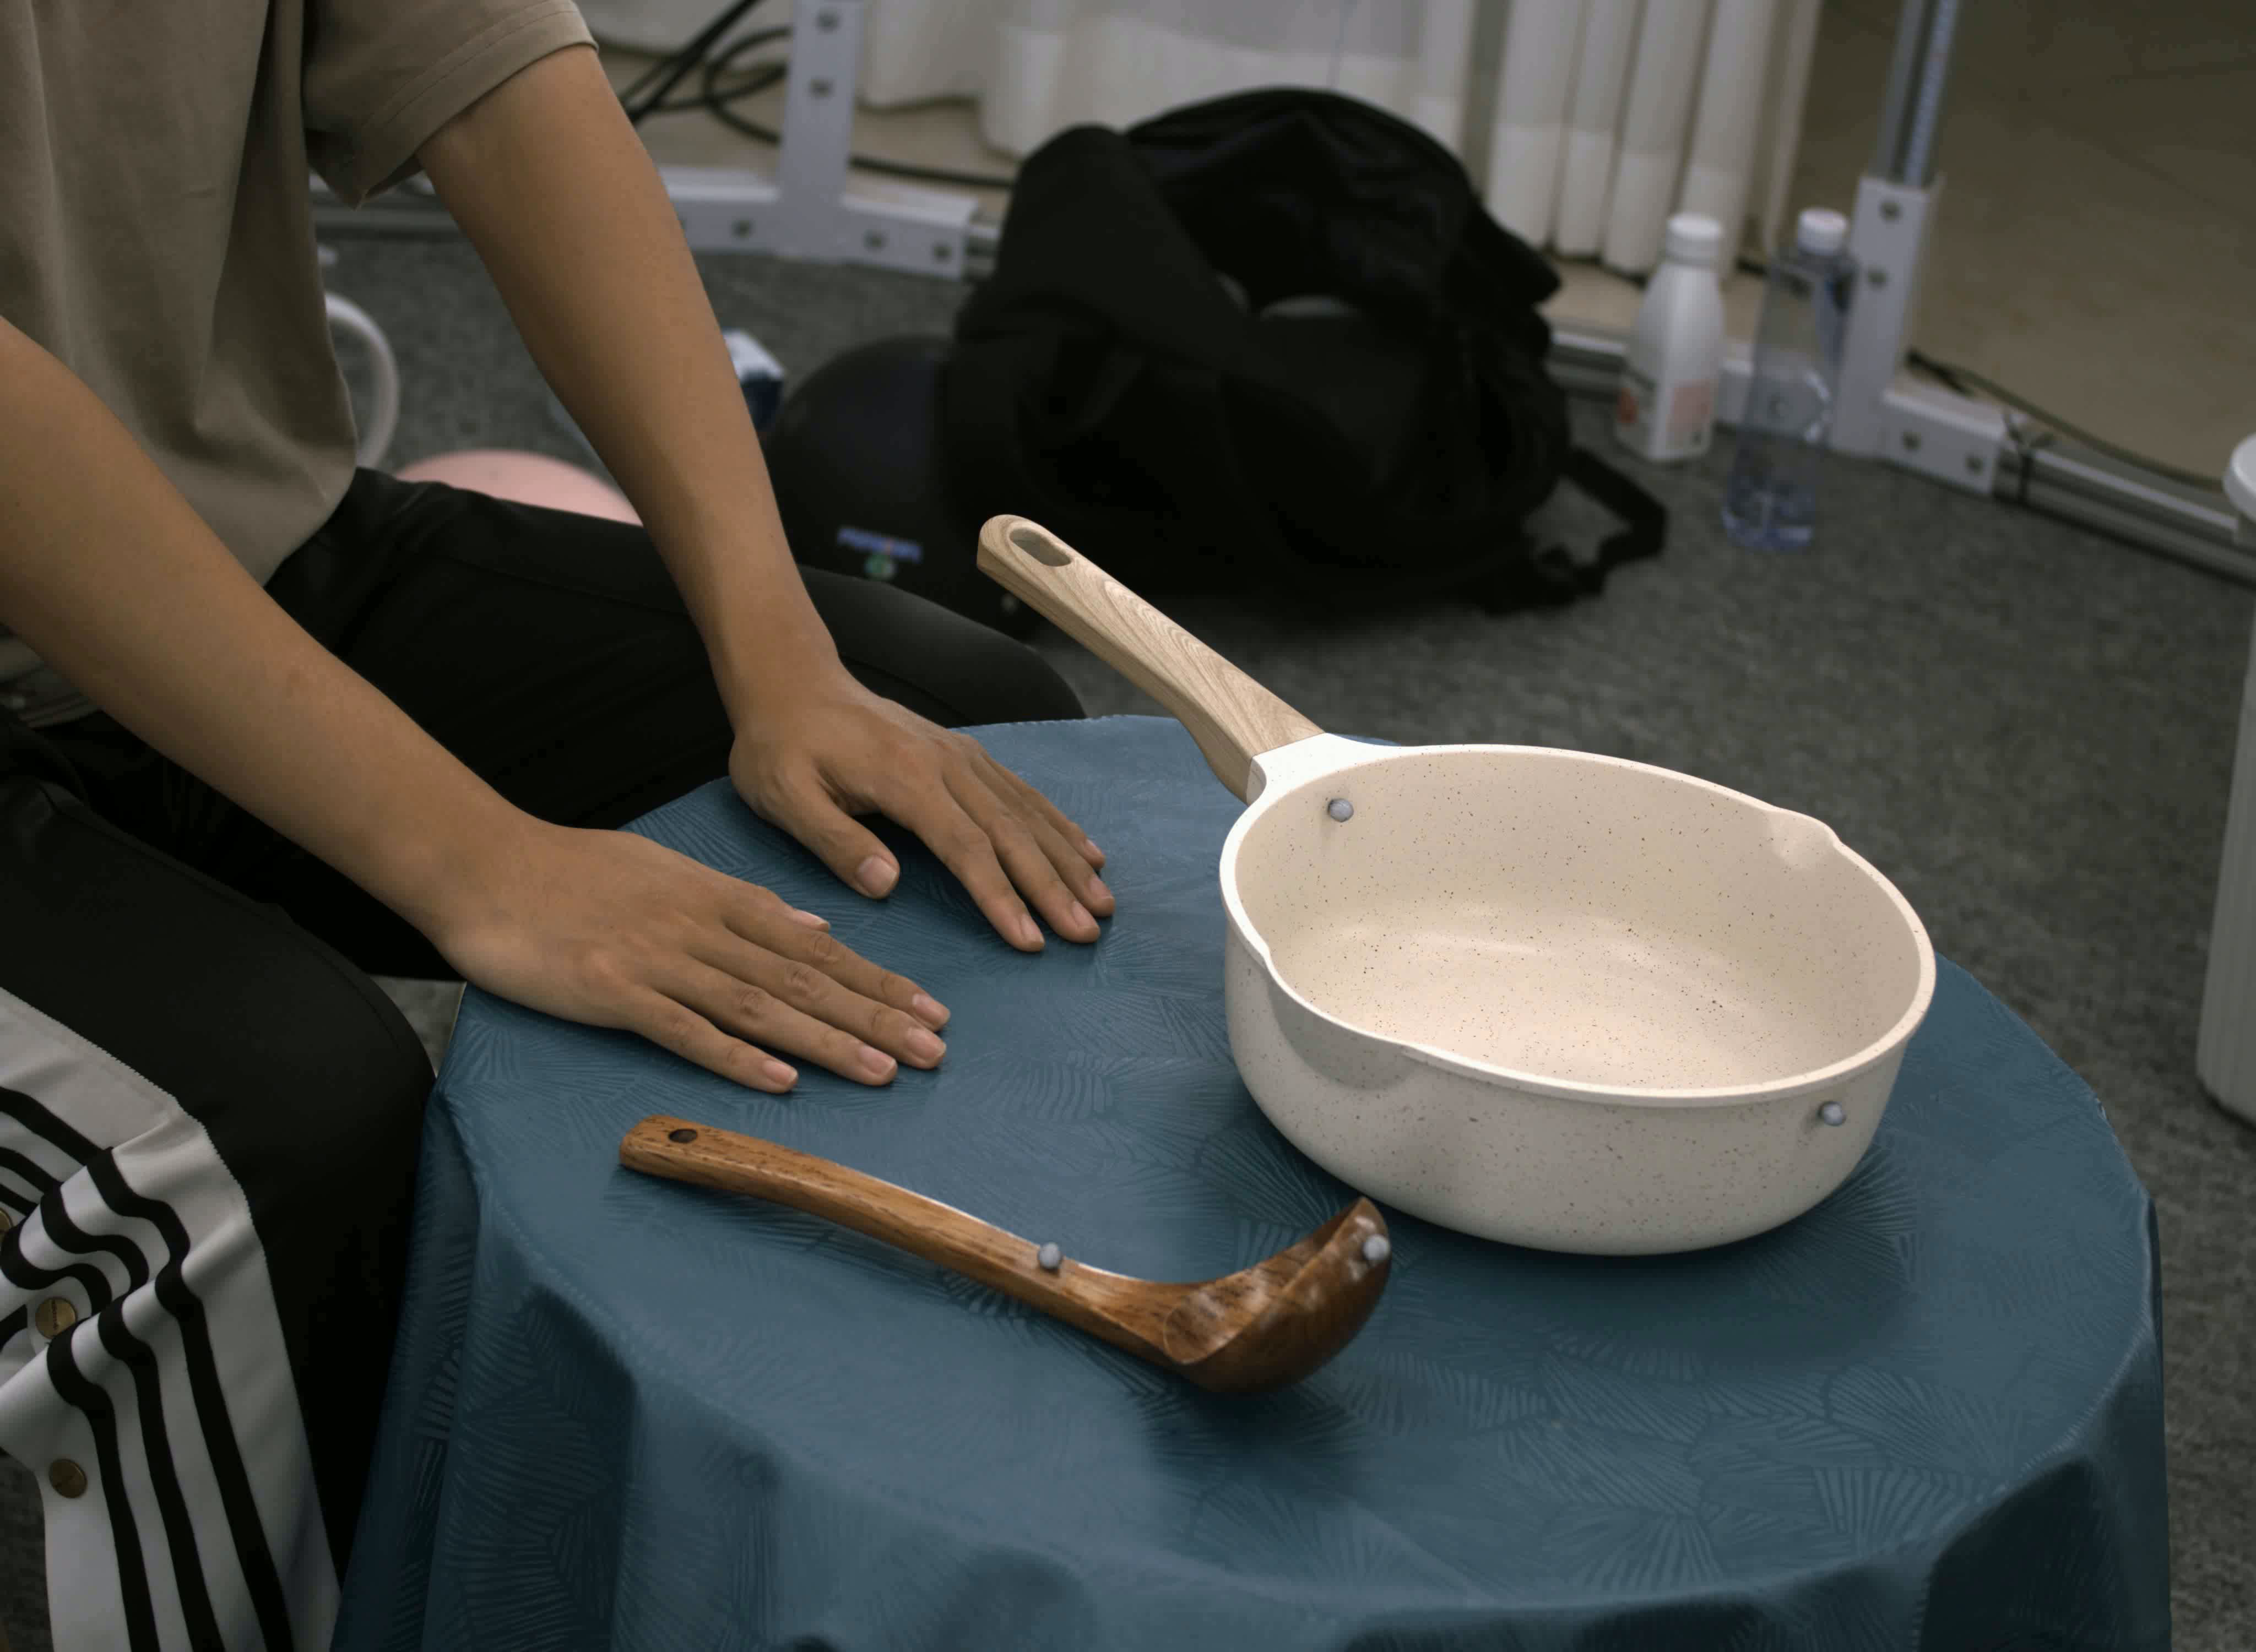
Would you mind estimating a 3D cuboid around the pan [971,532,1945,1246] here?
[{"bbox_3d":[0.093,0.018,1.924,0.262,0.101,0.438,-20,37,-39],"label":"pan"}]

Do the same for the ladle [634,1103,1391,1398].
[{"bbox_3d":[-0.043,0.118,1.721,0.275,0.076,0.082,20,31,23],"label":"ladle"}]
